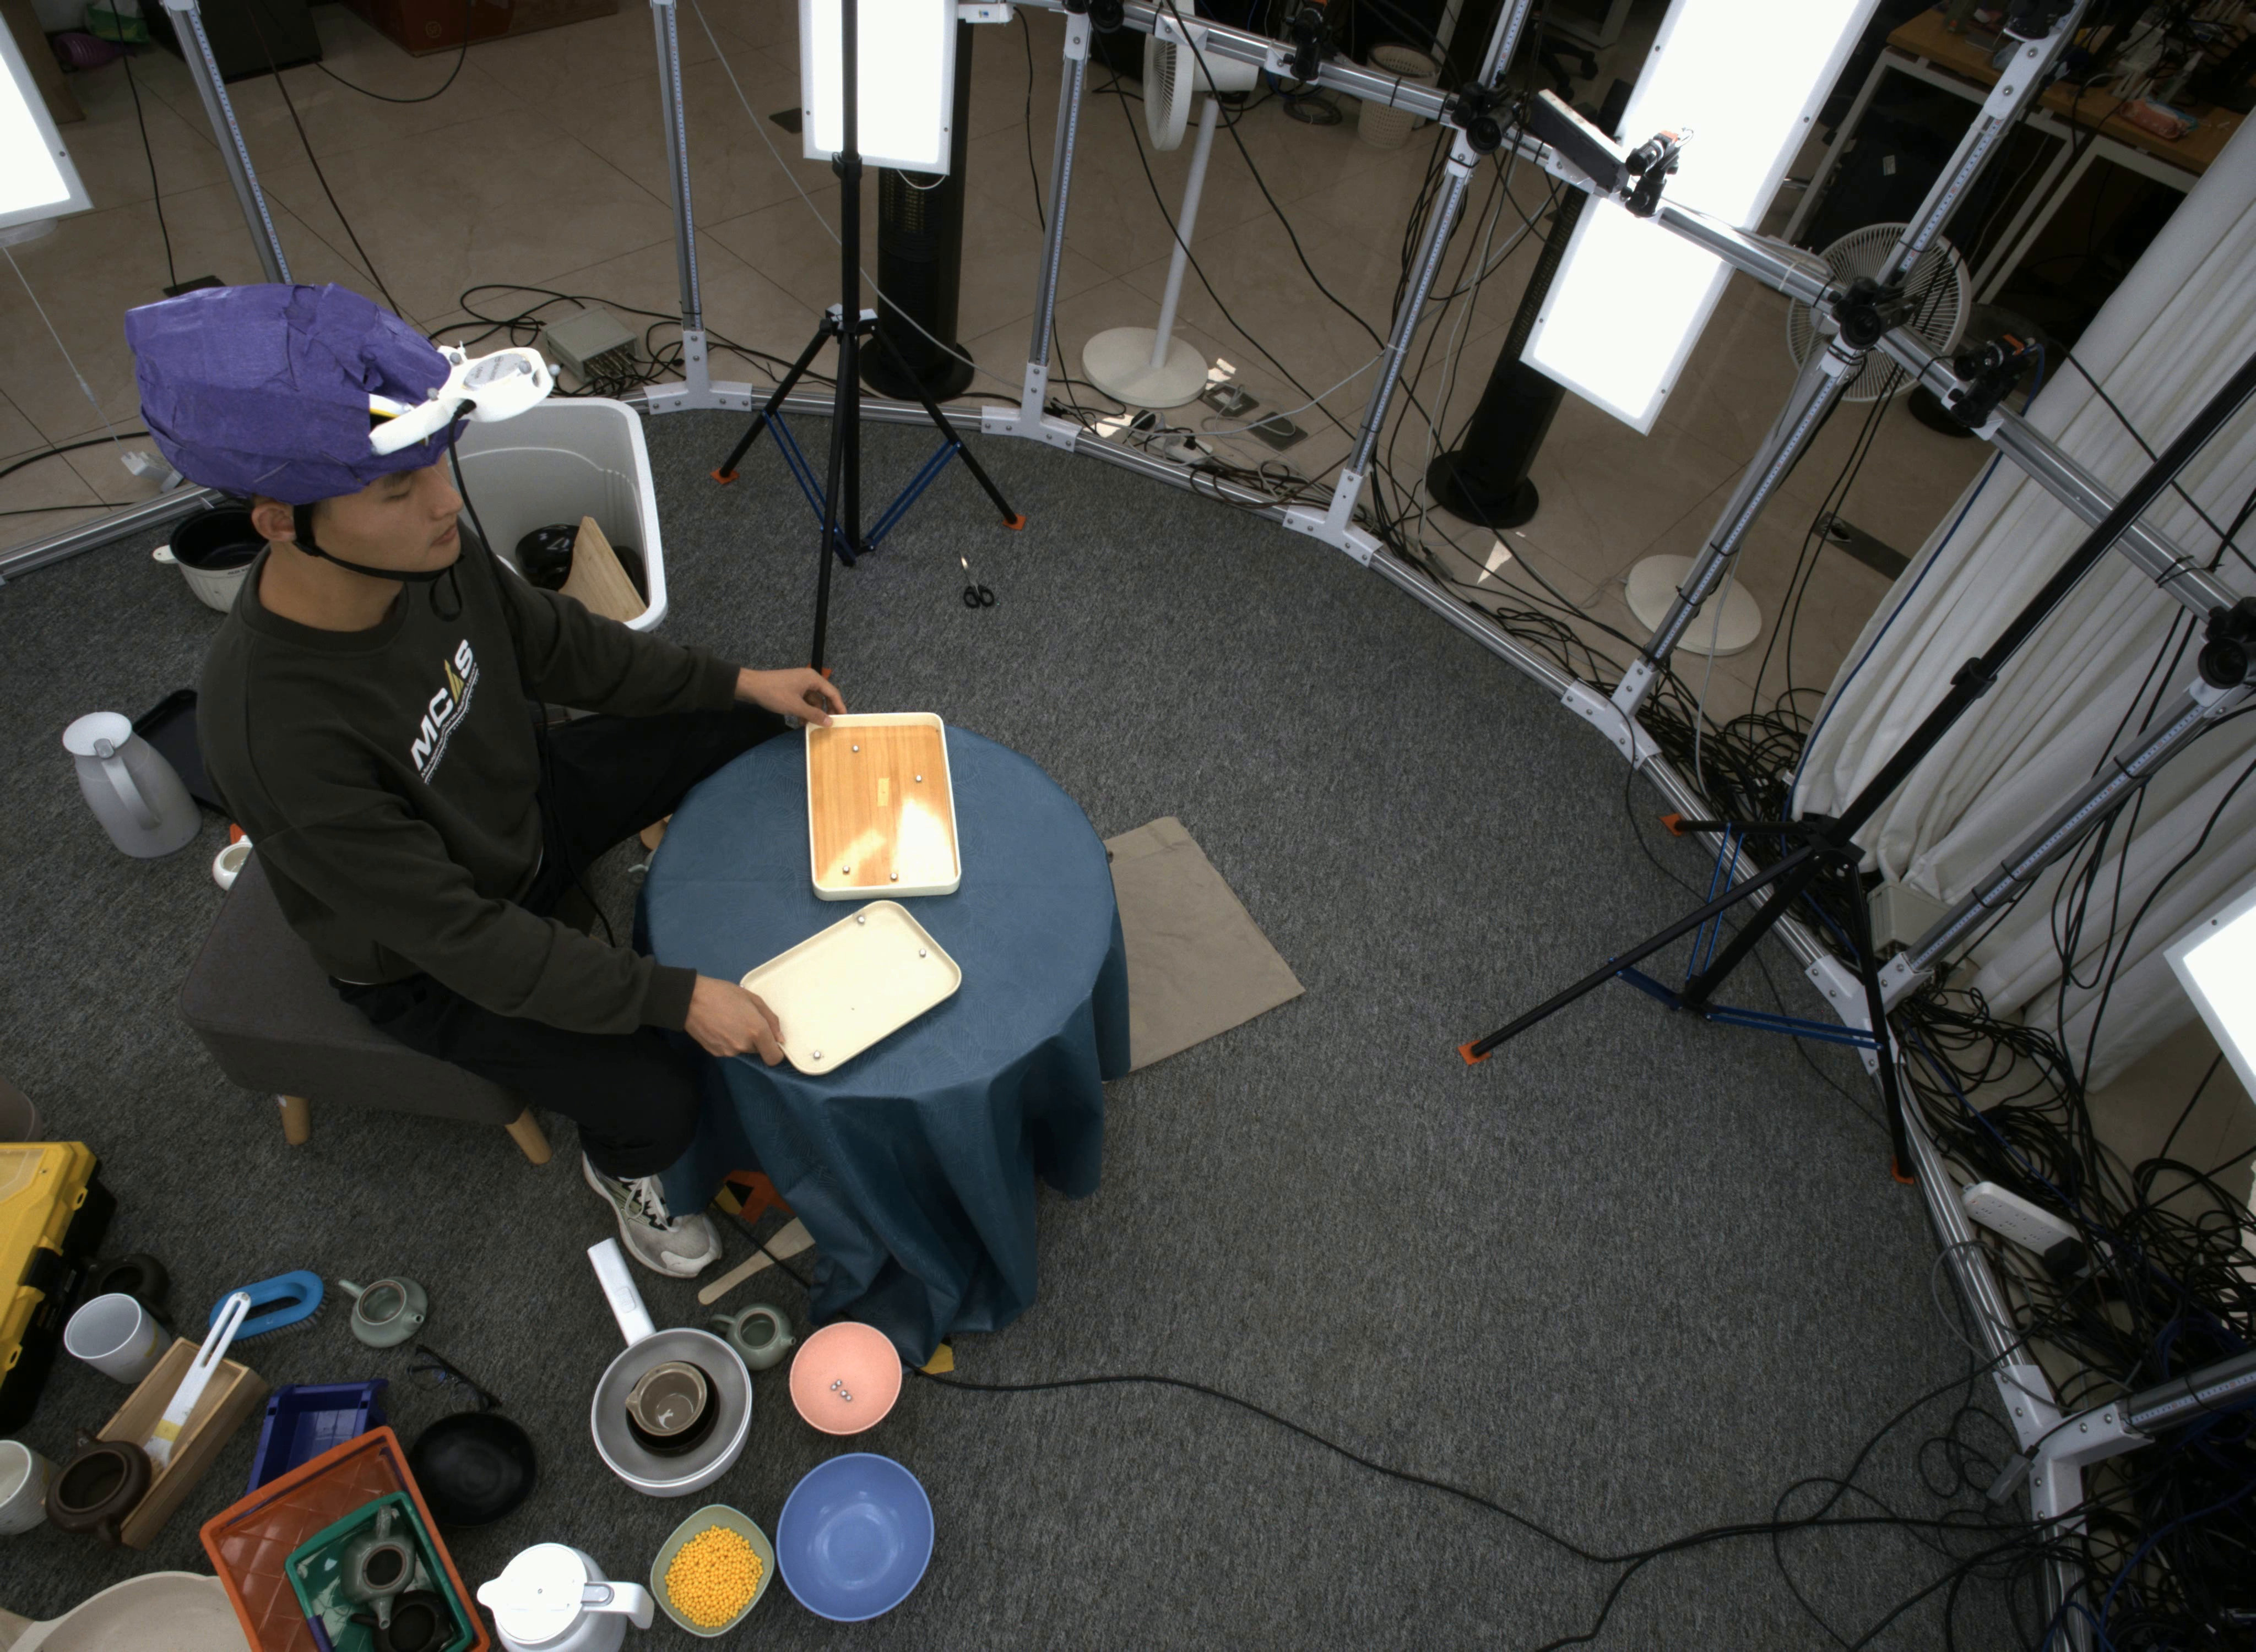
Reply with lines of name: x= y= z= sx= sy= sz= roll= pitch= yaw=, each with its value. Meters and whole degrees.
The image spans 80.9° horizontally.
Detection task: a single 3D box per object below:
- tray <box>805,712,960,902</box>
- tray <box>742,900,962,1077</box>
tray: x=-0.336 y=-0.033 z=1.764 sx=0.192 sy=0.028 sz=0.293 roll=-3 pitch=54 yaw=-15
tray: x=-0.337 y=0.194 z=1.594 sx=0.240 sy=0.018 sz=0.167 roll=-31 pitch=64 yaw=-33
